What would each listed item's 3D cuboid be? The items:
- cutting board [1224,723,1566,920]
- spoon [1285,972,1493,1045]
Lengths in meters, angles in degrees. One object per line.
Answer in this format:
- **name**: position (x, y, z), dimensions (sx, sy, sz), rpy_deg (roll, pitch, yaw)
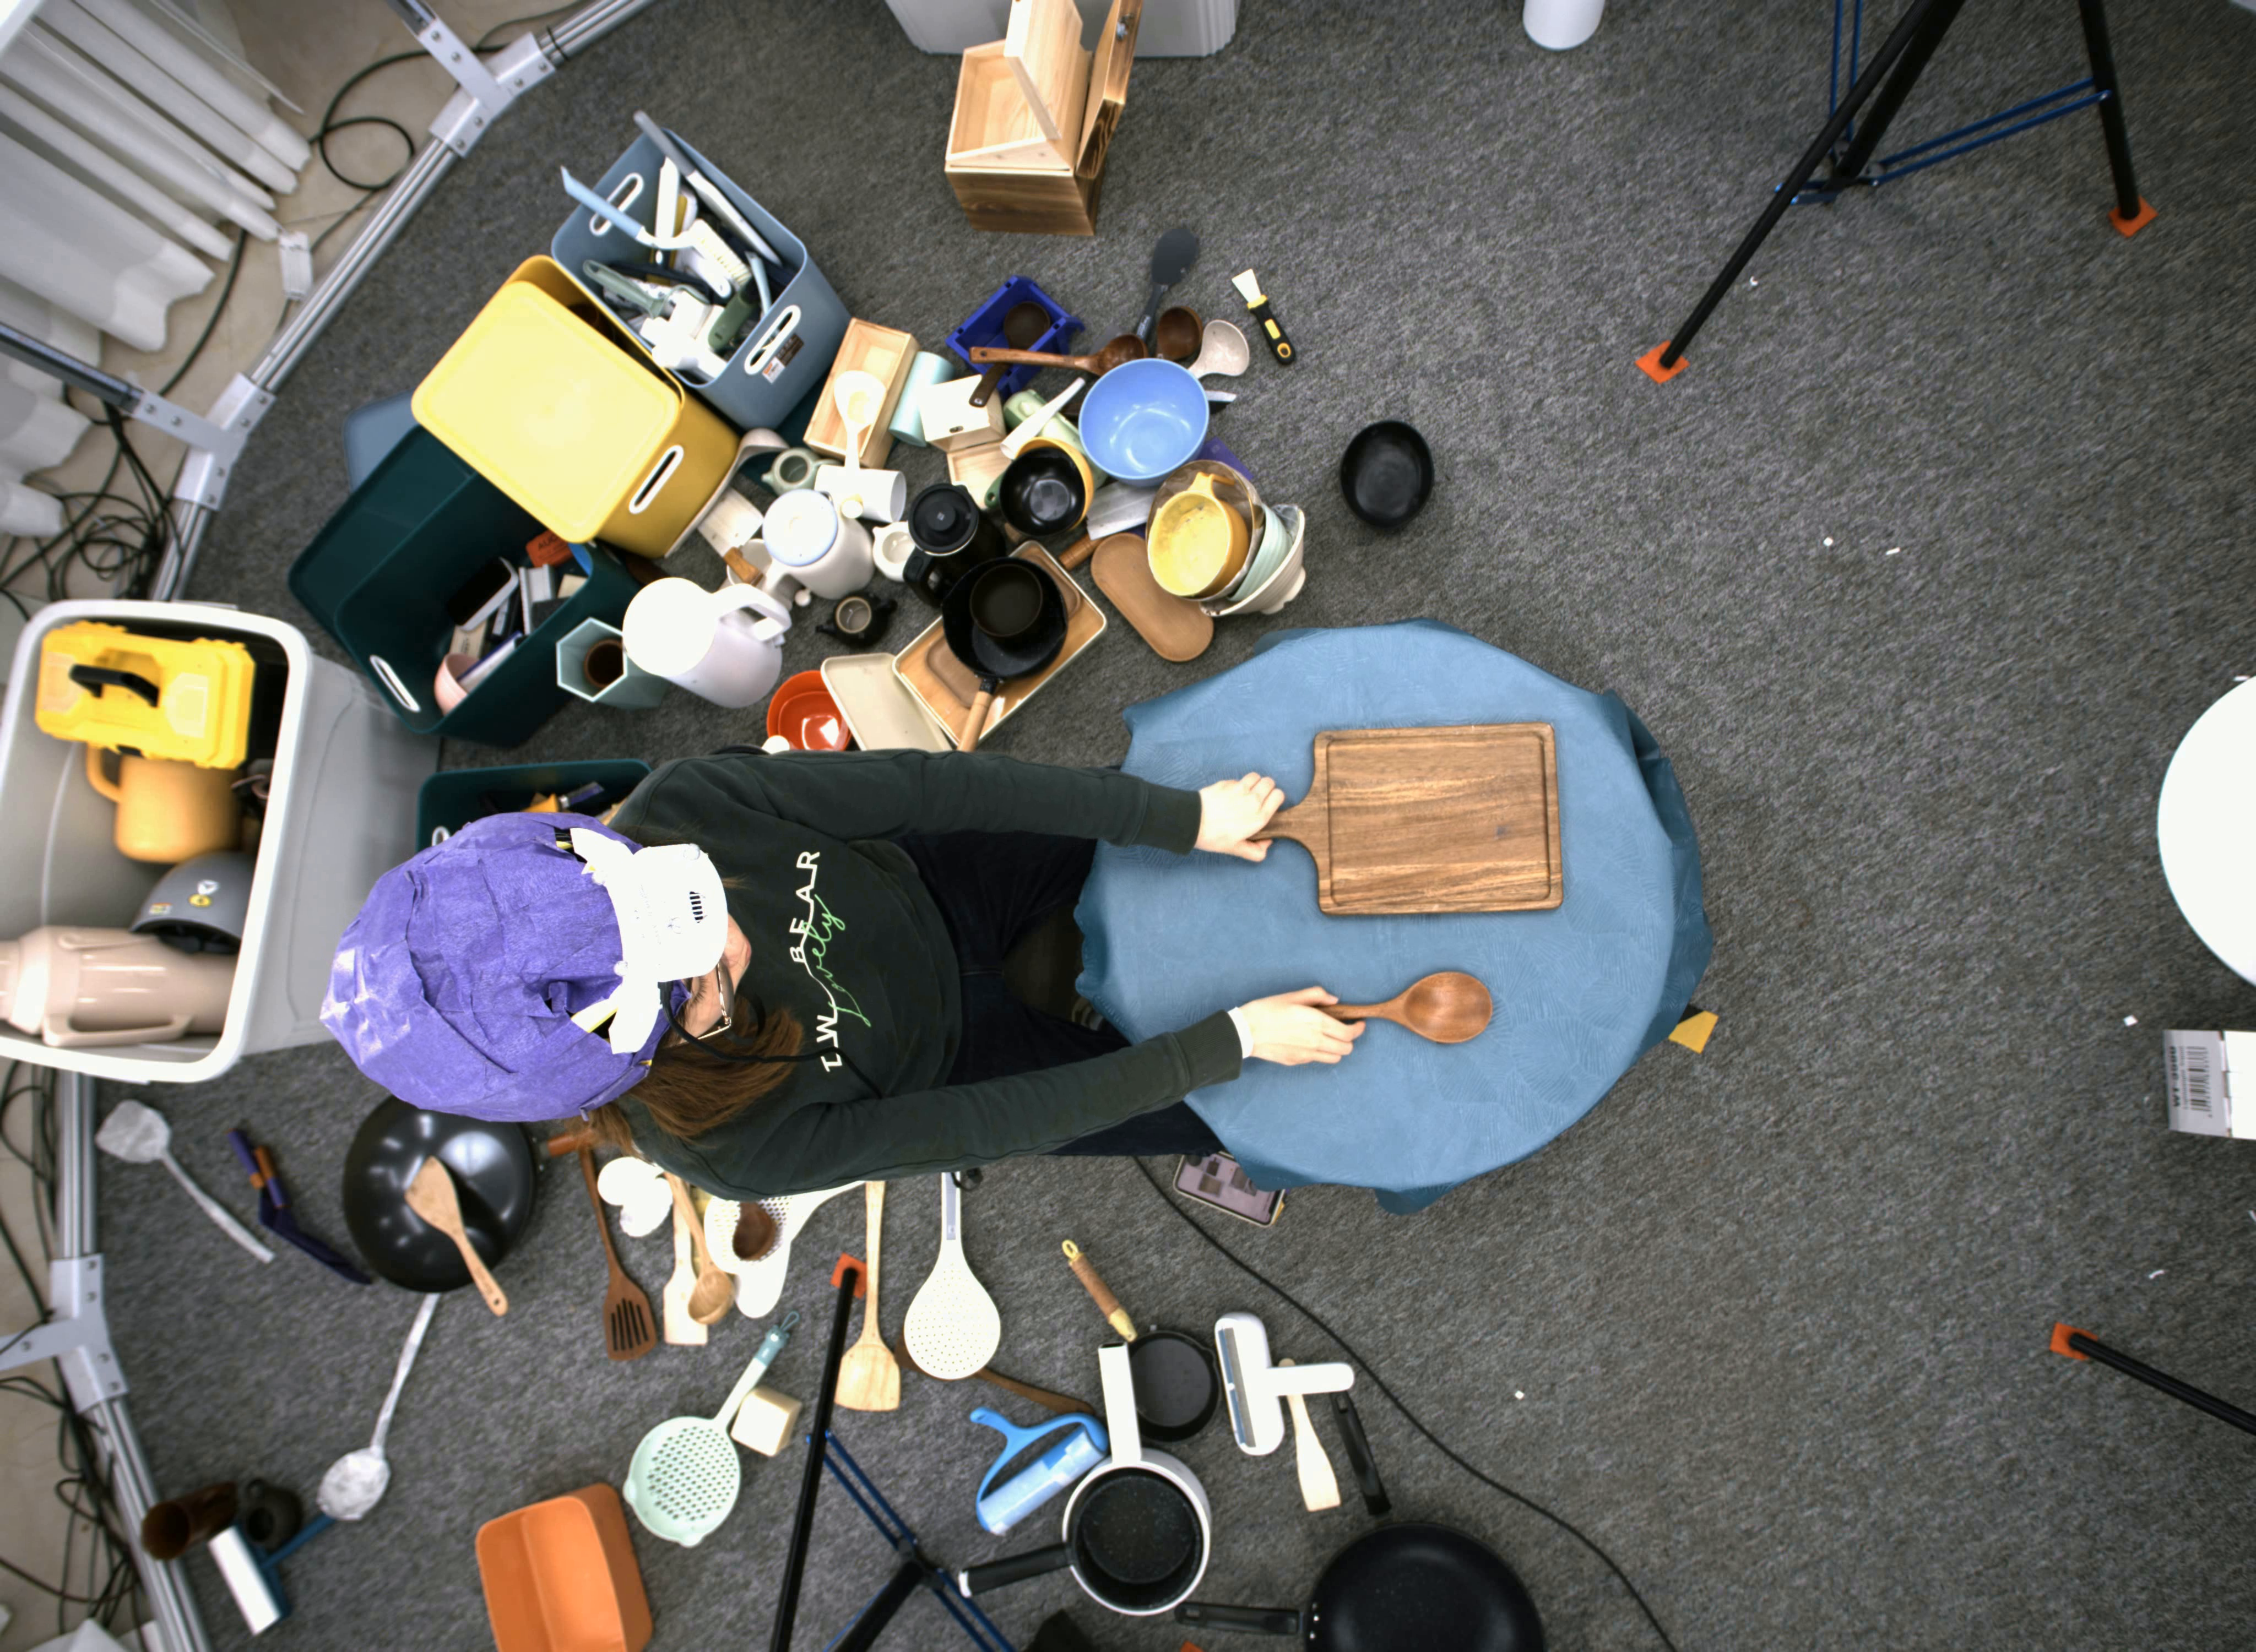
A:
- **cutting board**: position (0.277, -0.004, 1.457), dimensions (0.353, 0.023, 0.200), rpy_deg (-2, 87, 9)
- **spoon**: position (0.272, 0.192, 1.445), dimensions (0.216, 0.017, 0.075), rpy_deg (-4, 88, 8)
